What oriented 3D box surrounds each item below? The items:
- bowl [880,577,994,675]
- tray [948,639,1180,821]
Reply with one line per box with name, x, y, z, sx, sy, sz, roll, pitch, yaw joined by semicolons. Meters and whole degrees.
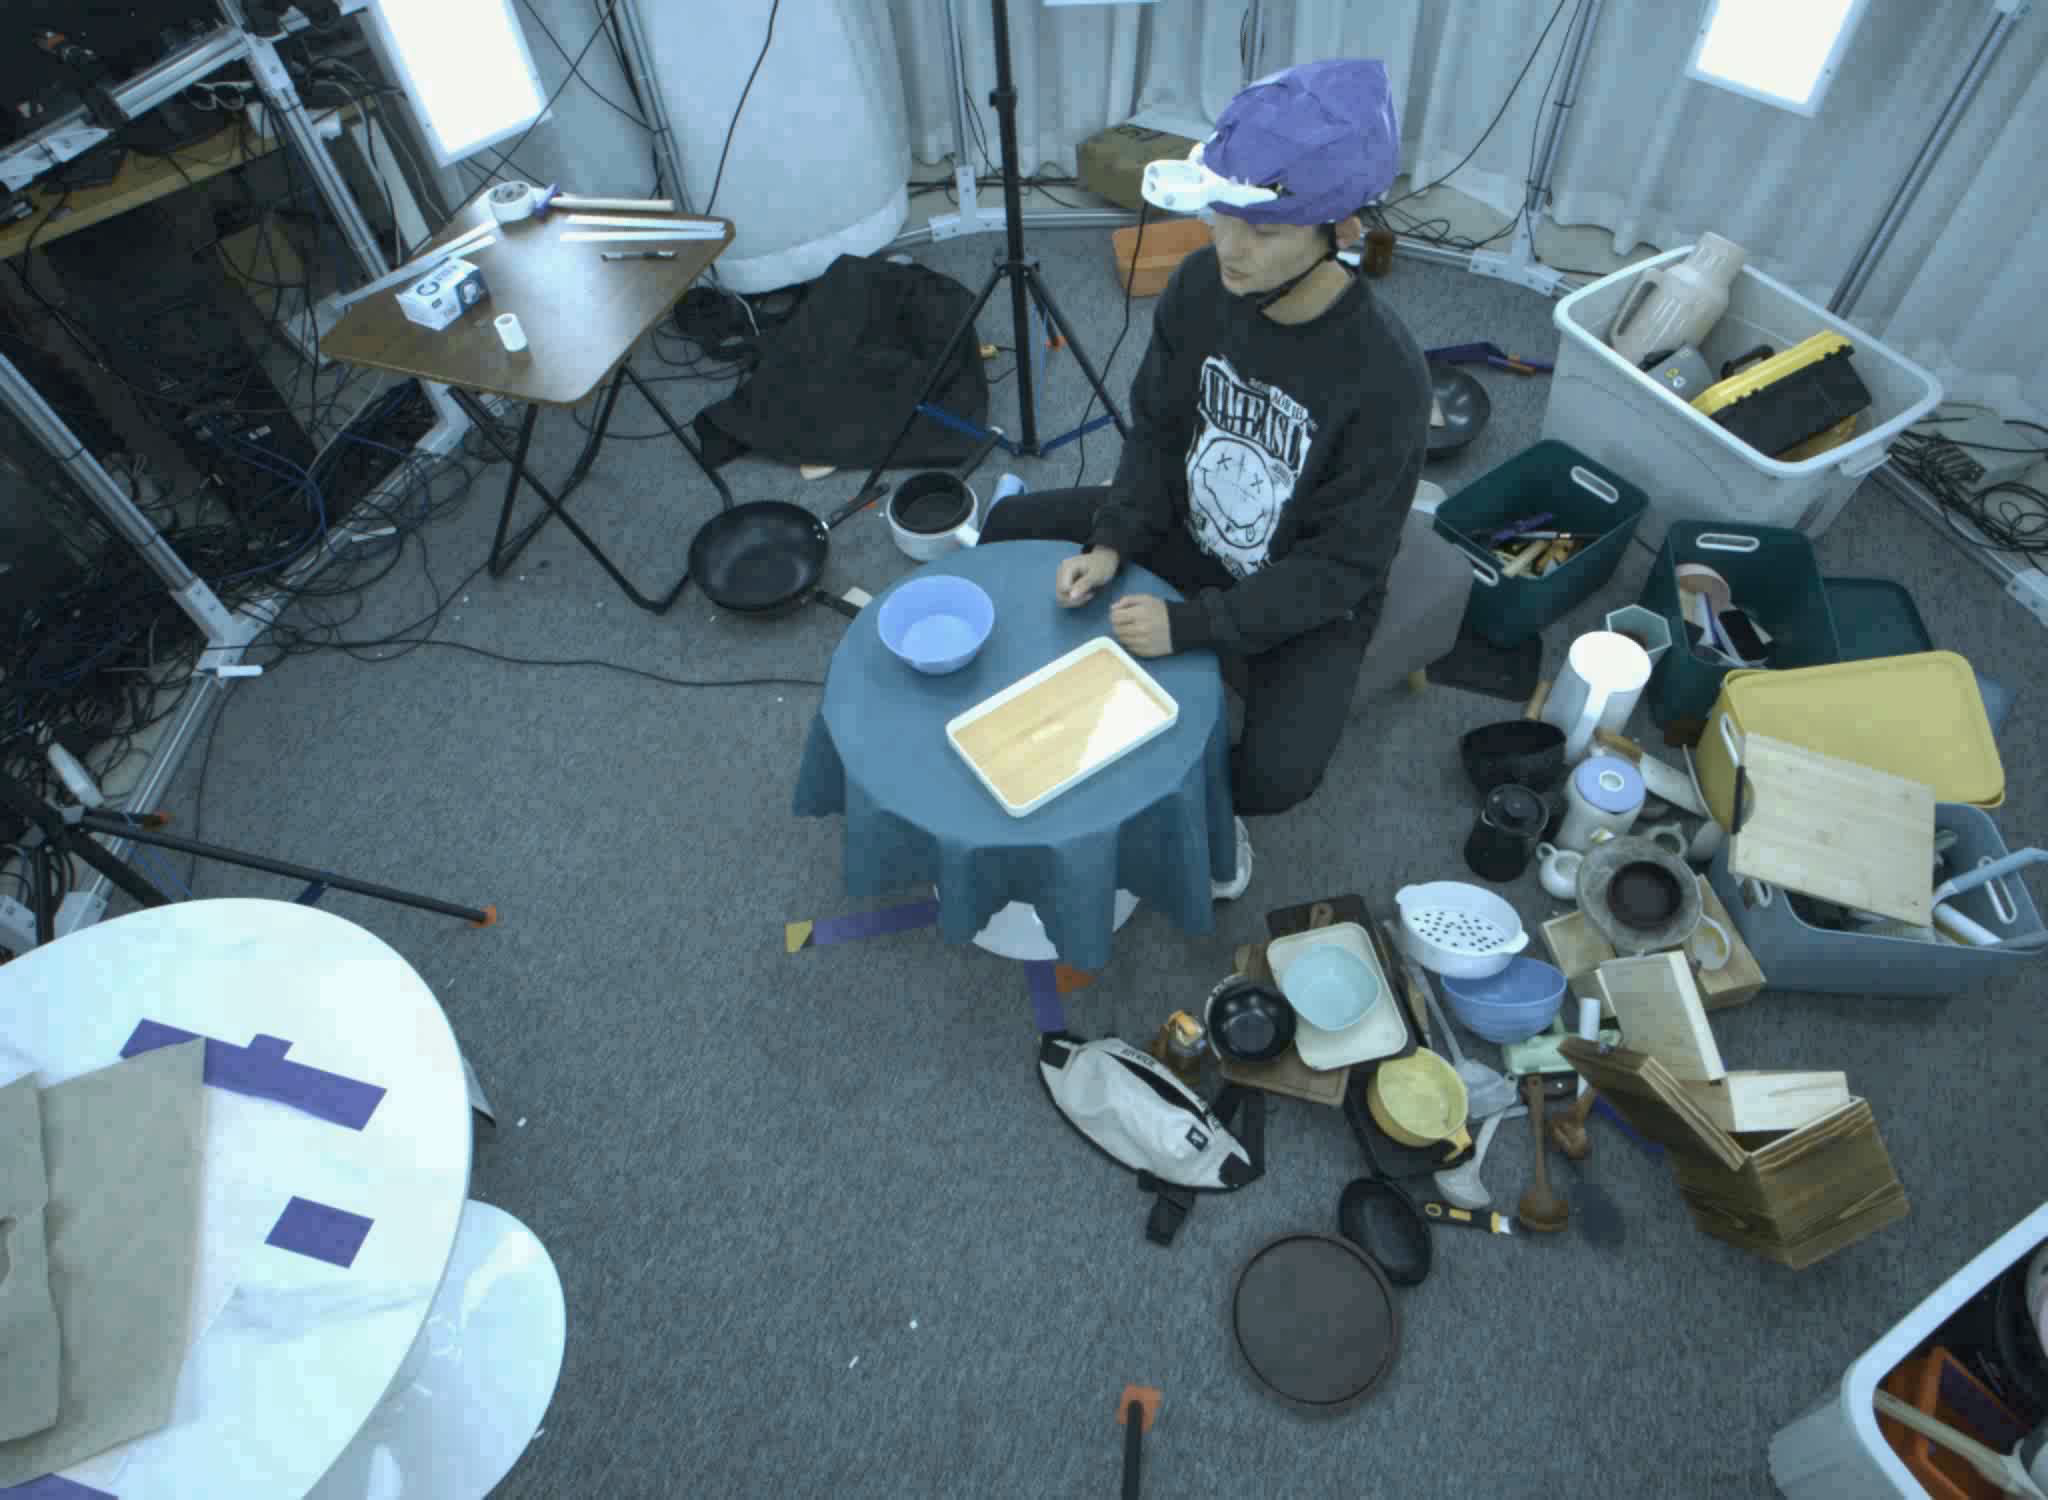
bowl;-0.130;-0.180;1.884;0.176;0.071;0.174;-1;56;2
tray;0.059;-0.034;1.804;0.302;0.028;0.188;-31;60;-18
